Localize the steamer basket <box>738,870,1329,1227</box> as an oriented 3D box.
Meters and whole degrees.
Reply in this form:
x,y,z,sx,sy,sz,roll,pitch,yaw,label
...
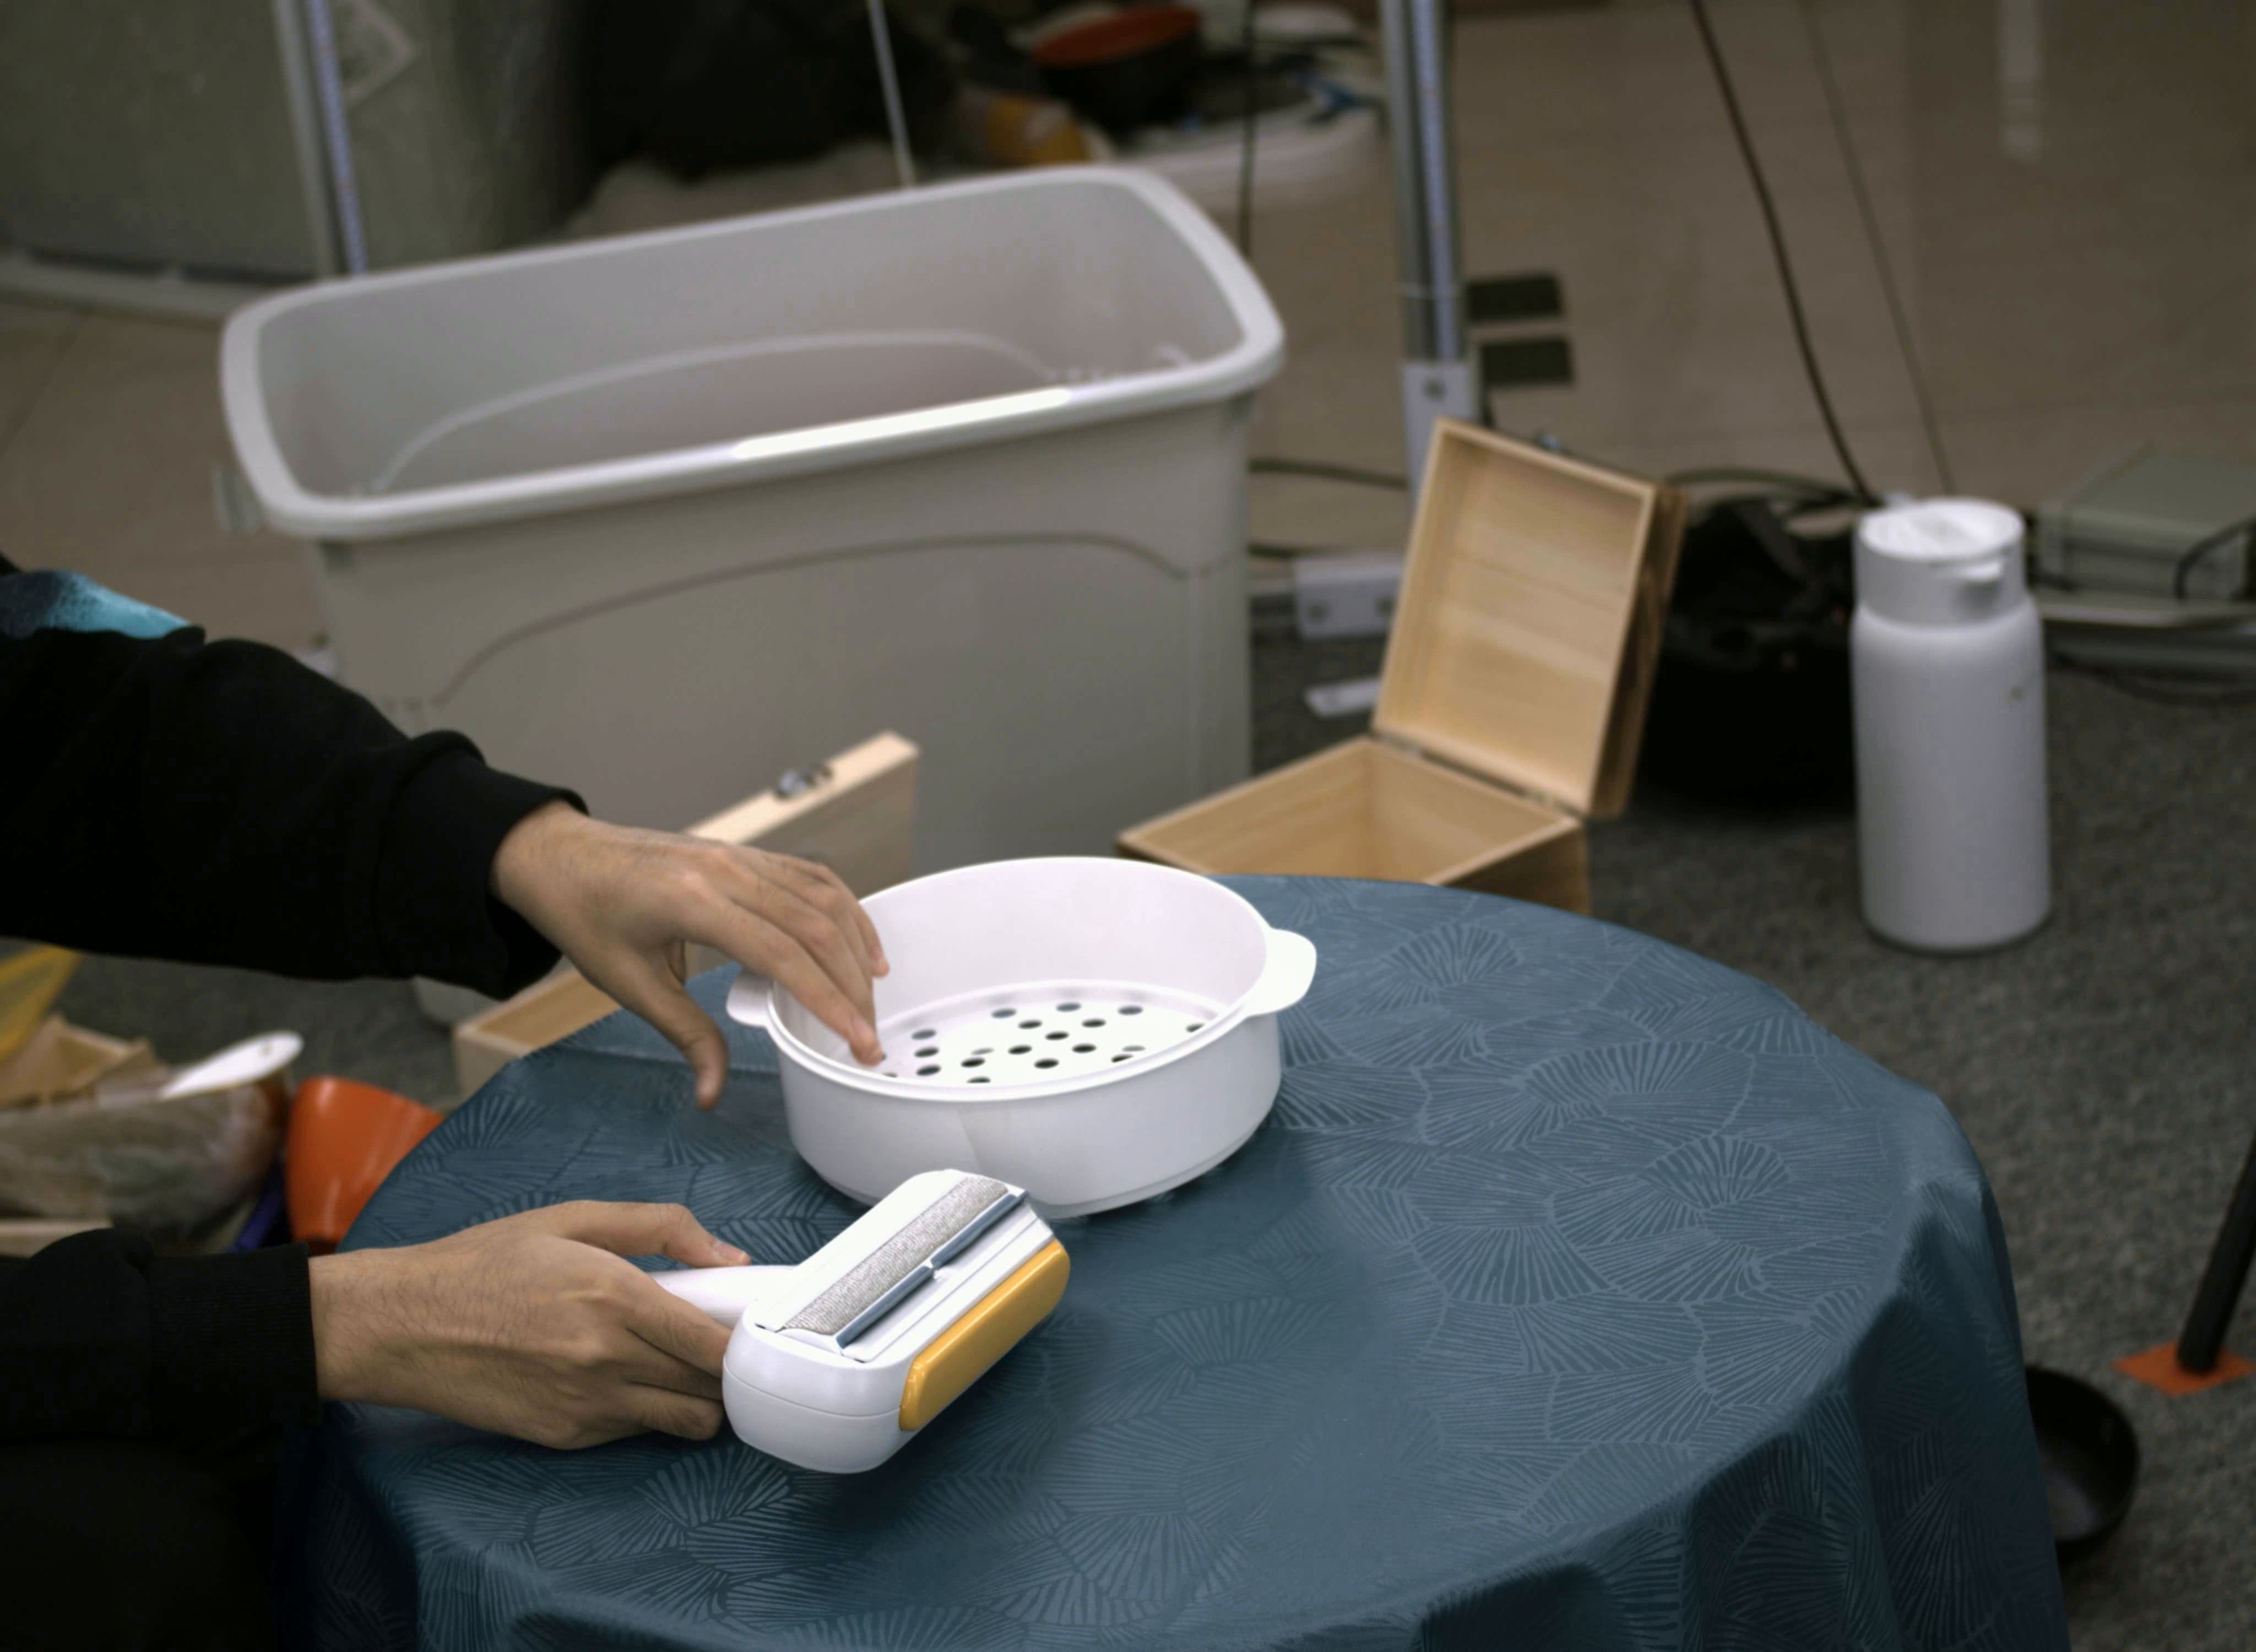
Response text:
x,y,z,sx,sy,sz,roll,pitch,yaw,label
-0.033,0.087,2.190,0.230,0.070,0.199,-4,23,11,steamer basket

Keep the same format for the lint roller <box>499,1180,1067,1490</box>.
x,y,z,sx,sy,sz,roll,pitch,yaw,label
-0.137,0.172,2.012,0.191,0.075,0.191,10,23,23,lint roller
